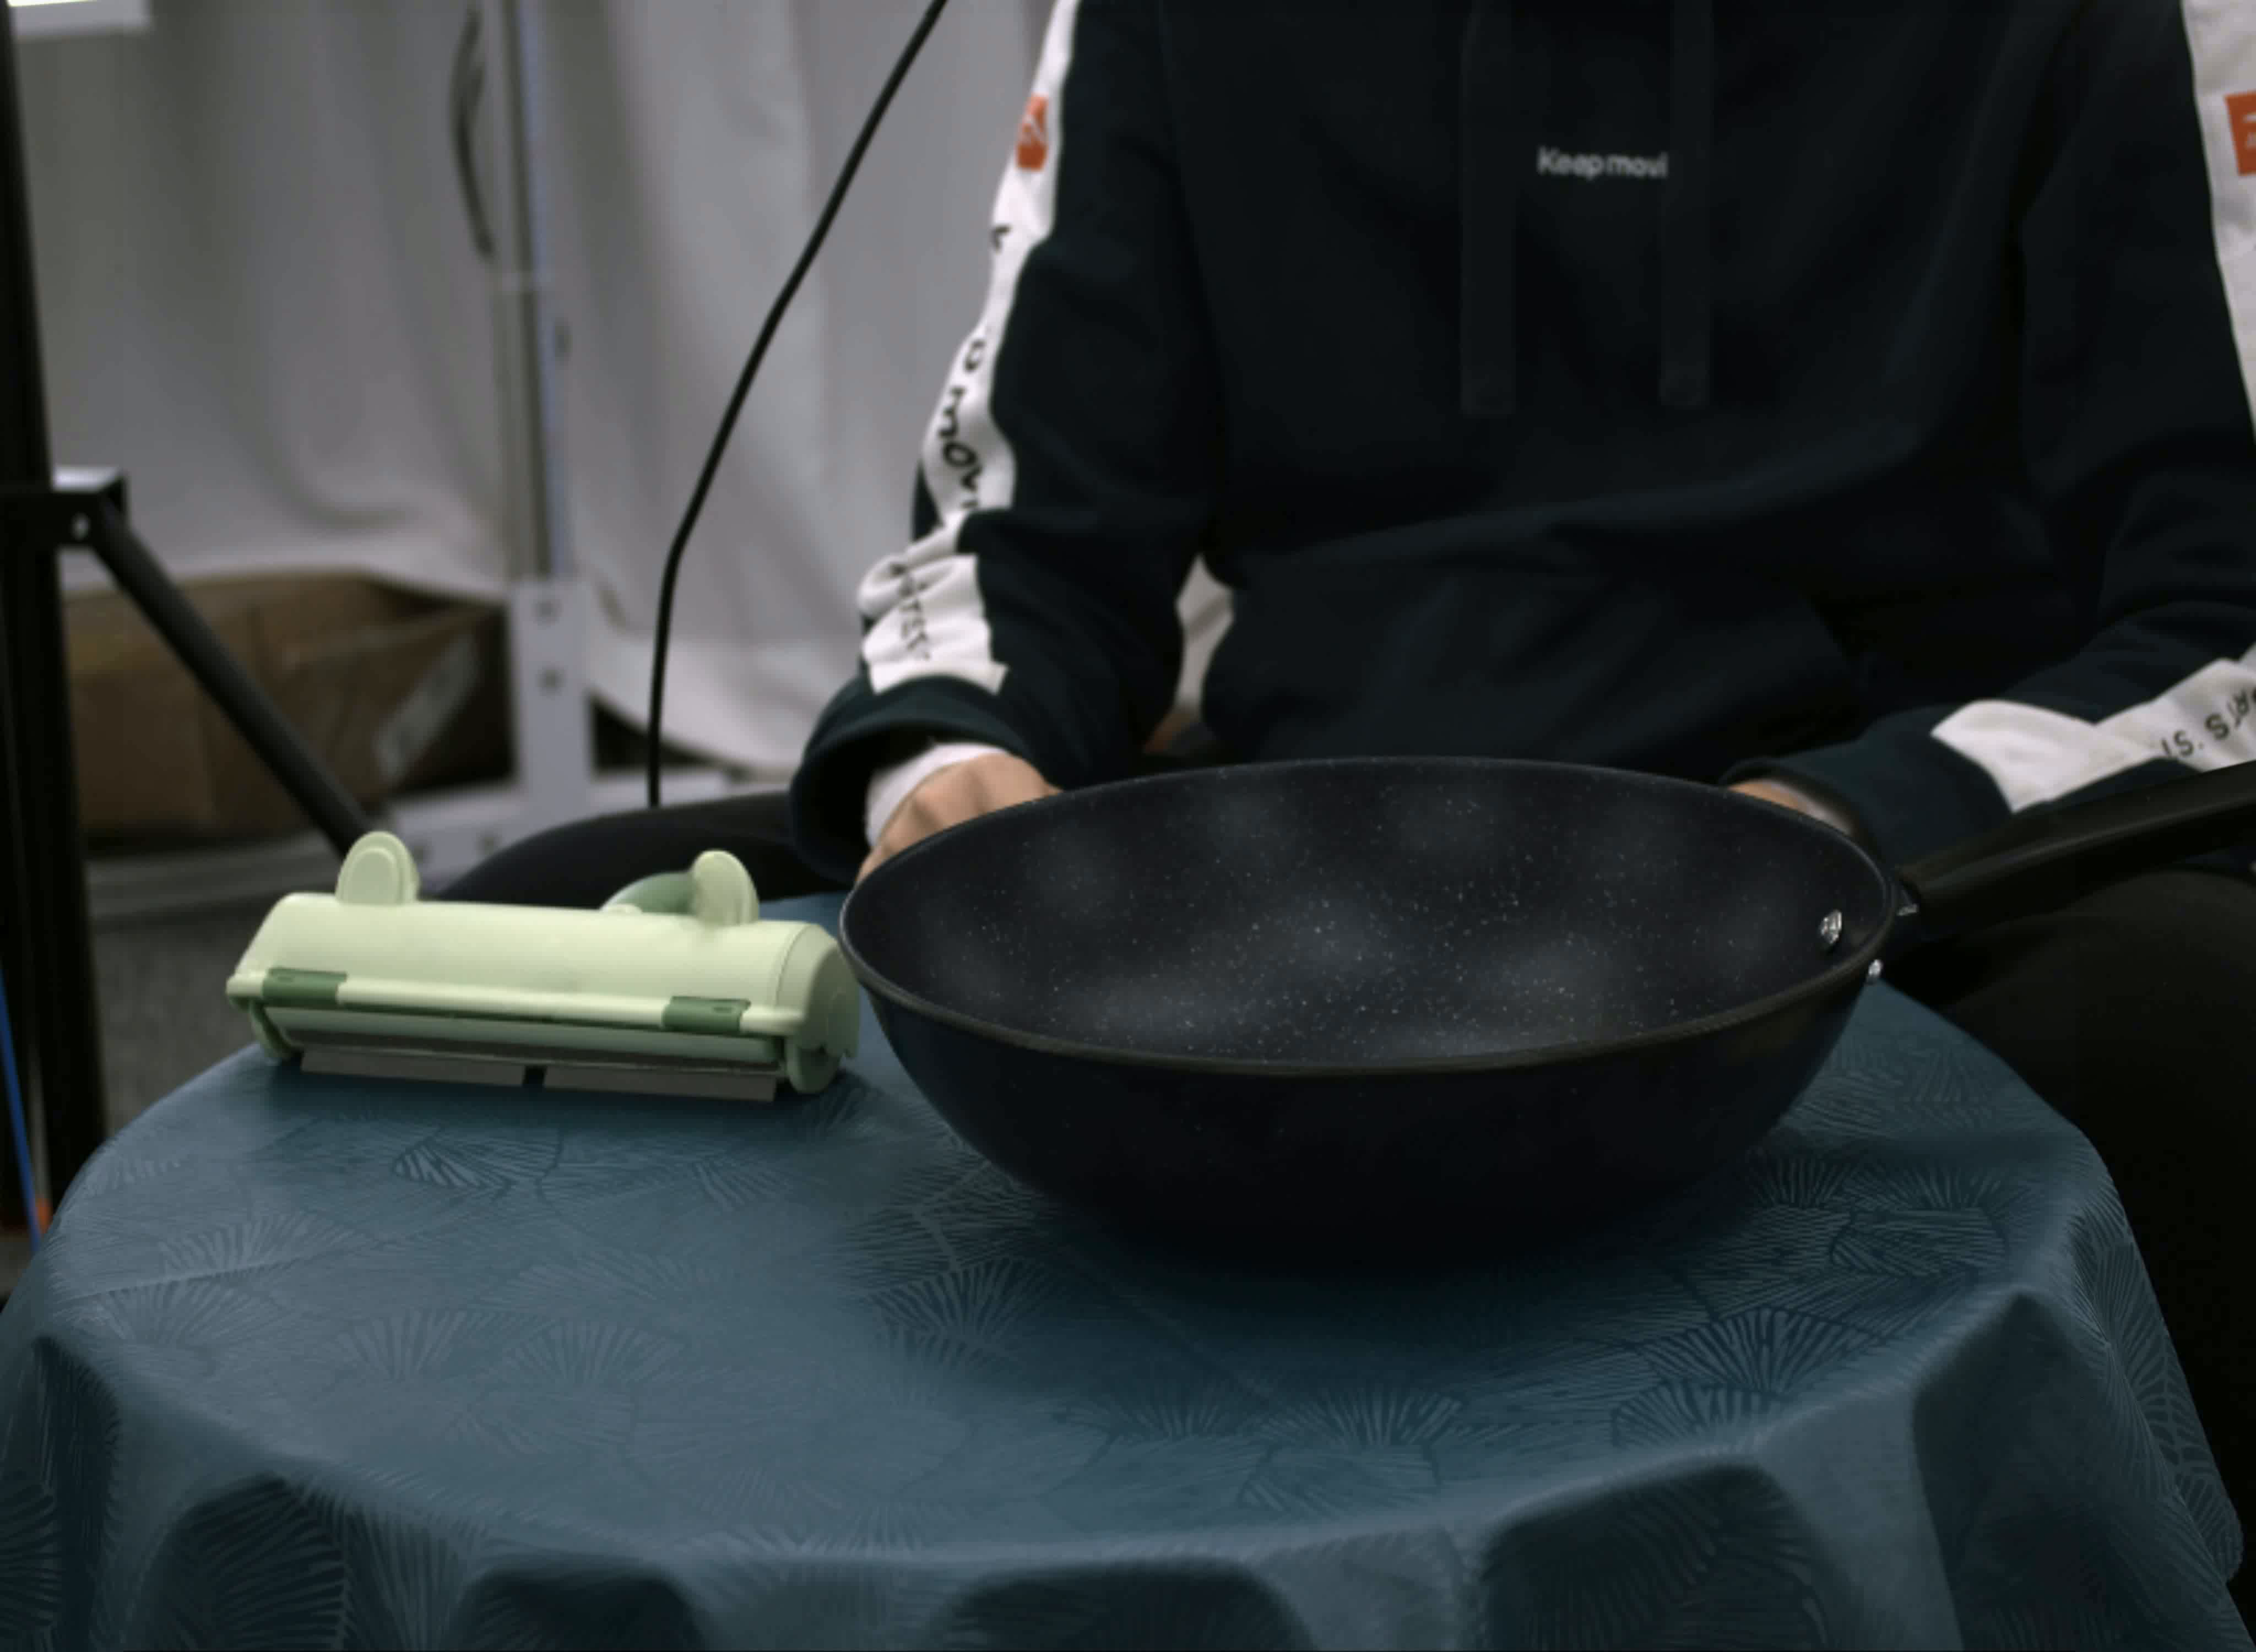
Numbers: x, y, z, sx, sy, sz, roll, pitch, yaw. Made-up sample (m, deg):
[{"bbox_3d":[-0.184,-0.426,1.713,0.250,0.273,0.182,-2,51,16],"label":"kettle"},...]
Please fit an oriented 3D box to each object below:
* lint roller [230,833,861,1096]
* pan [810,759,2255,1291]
[{"bbox_3d":[-0.167,0.027,1.735,0.201,0.082,0.182,3,22,19],"label":"lint roller"},{"bbox_3d":[0.146,0.048,1.552,0.473,0.111,0.312,-4,17,-3],"label":"pan"}]
